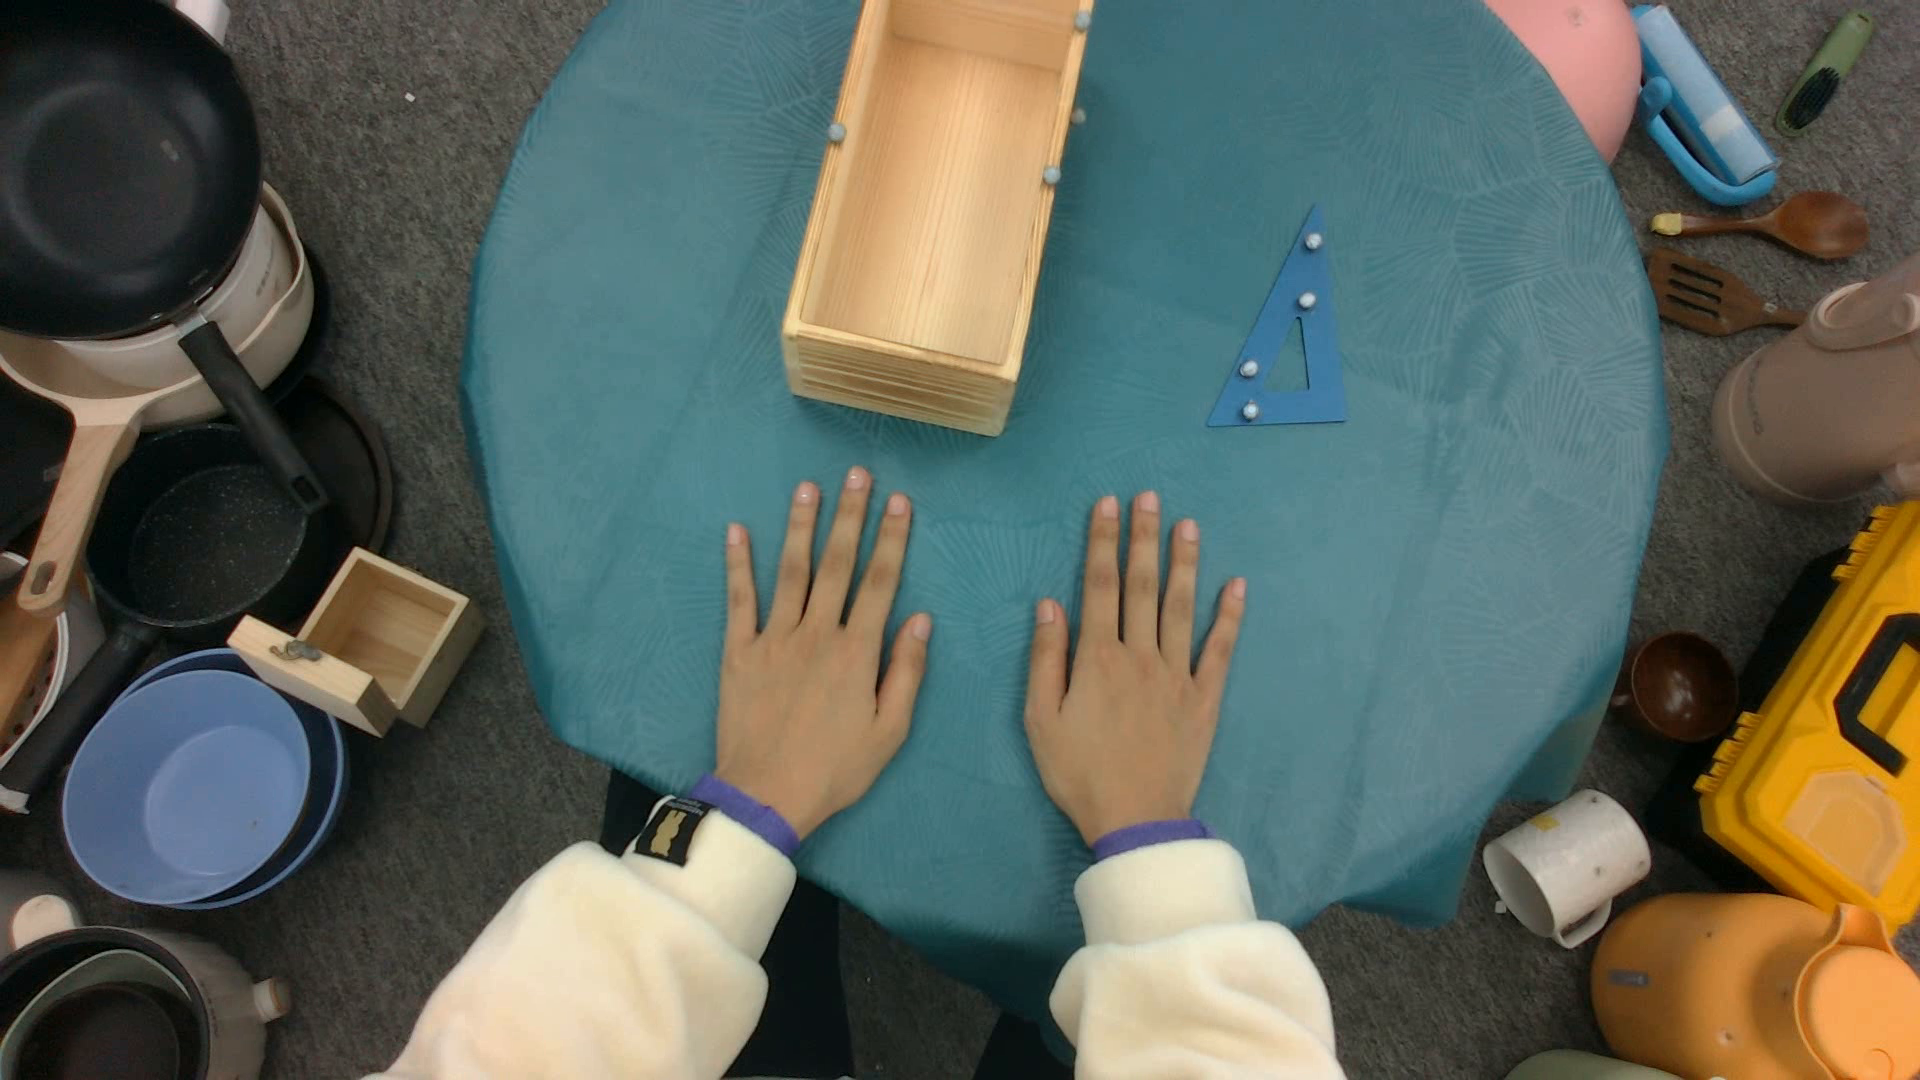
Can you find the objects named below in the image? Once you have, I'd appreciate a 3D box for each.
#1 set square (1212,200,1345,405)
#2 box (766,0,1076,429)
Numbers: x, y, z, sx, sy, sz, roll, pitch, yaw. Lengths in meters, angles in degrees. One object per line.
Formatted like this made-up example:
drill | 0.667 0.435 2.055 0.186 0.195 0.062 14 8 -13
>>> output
set square | 0.183 -0.114 0.702 0.061 0.006 0.132 31 75 5
box | -0.015 -0.172 0.663 0.107 0.080 0.212 11 74 -1
